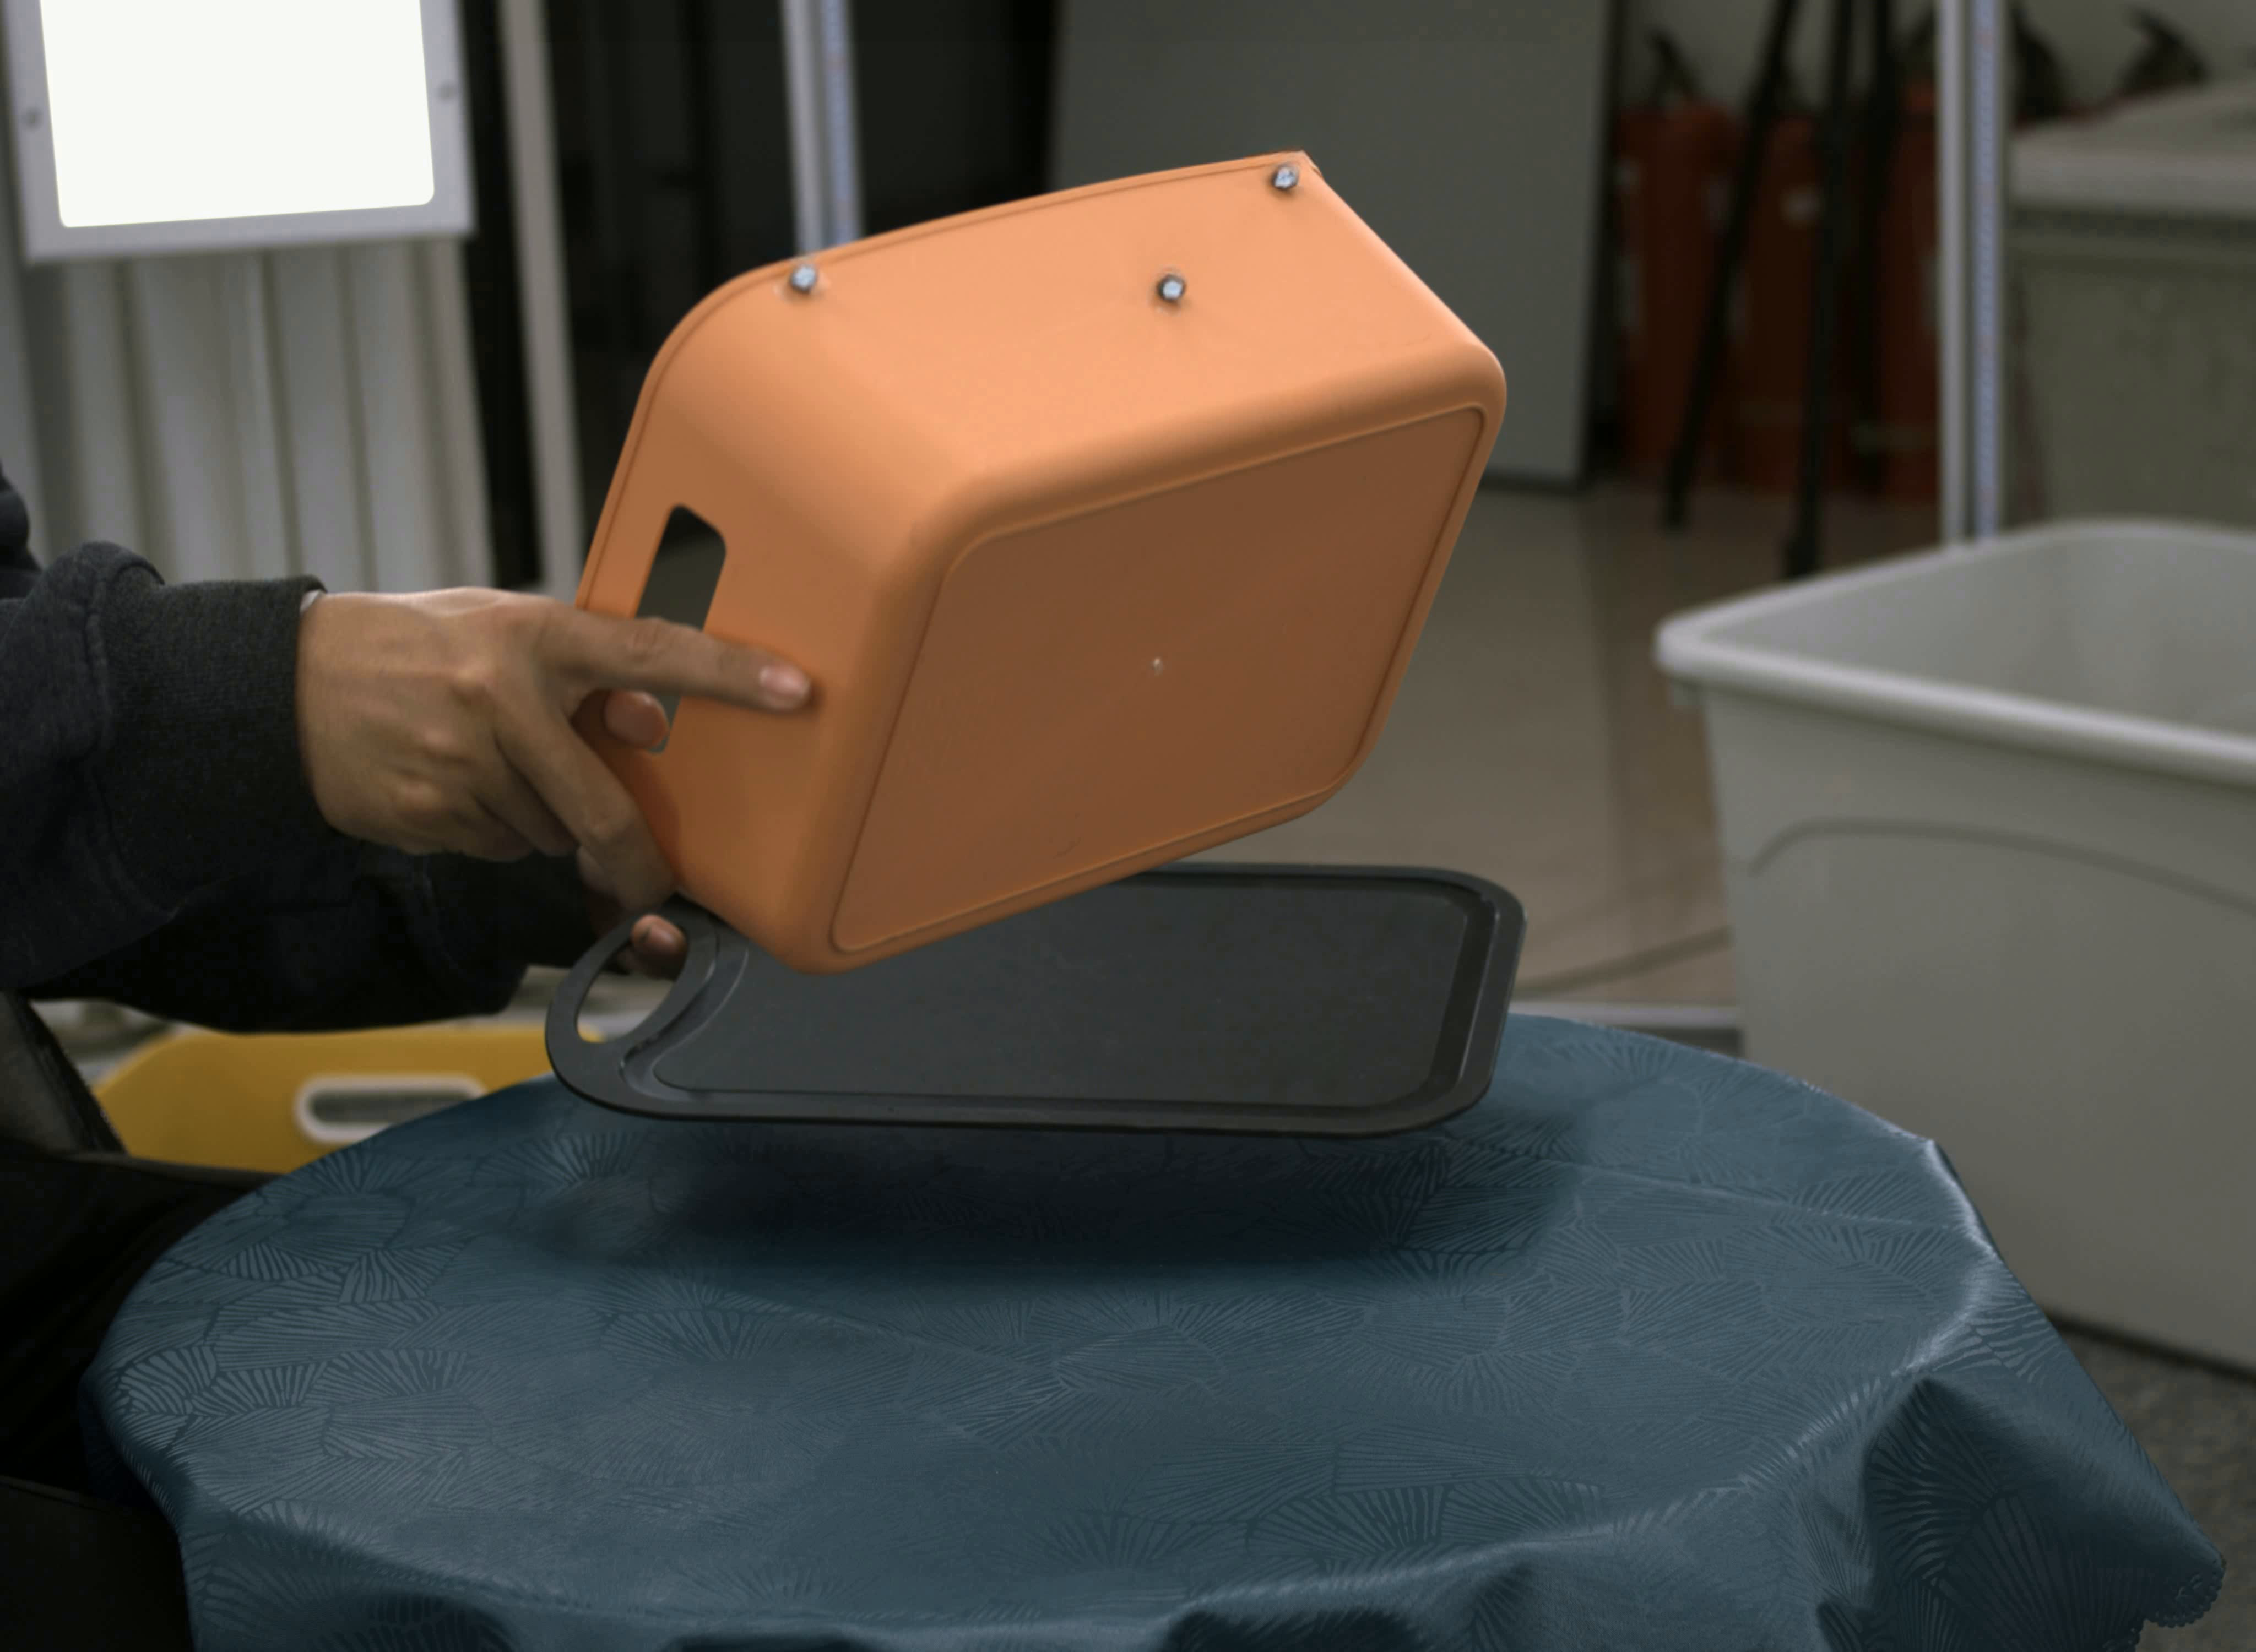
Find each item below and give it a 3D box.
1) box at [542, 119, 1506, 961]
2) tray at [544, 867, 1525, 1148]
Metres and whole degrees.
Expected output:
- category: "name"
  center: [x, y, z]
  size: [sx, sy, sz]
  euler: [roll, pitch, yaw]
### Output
- category: "box"
  center: [-0.022, -0.077, 1.529]
  size: [0.267, 0.201, 0.103]
  euler: [-17, 48, -41]
- category: "tray"
  center: [-0.033, 0.055, 1.793]
  size: [0.323, 0.010, 0.210]
  euler: [1, 23, 11]
